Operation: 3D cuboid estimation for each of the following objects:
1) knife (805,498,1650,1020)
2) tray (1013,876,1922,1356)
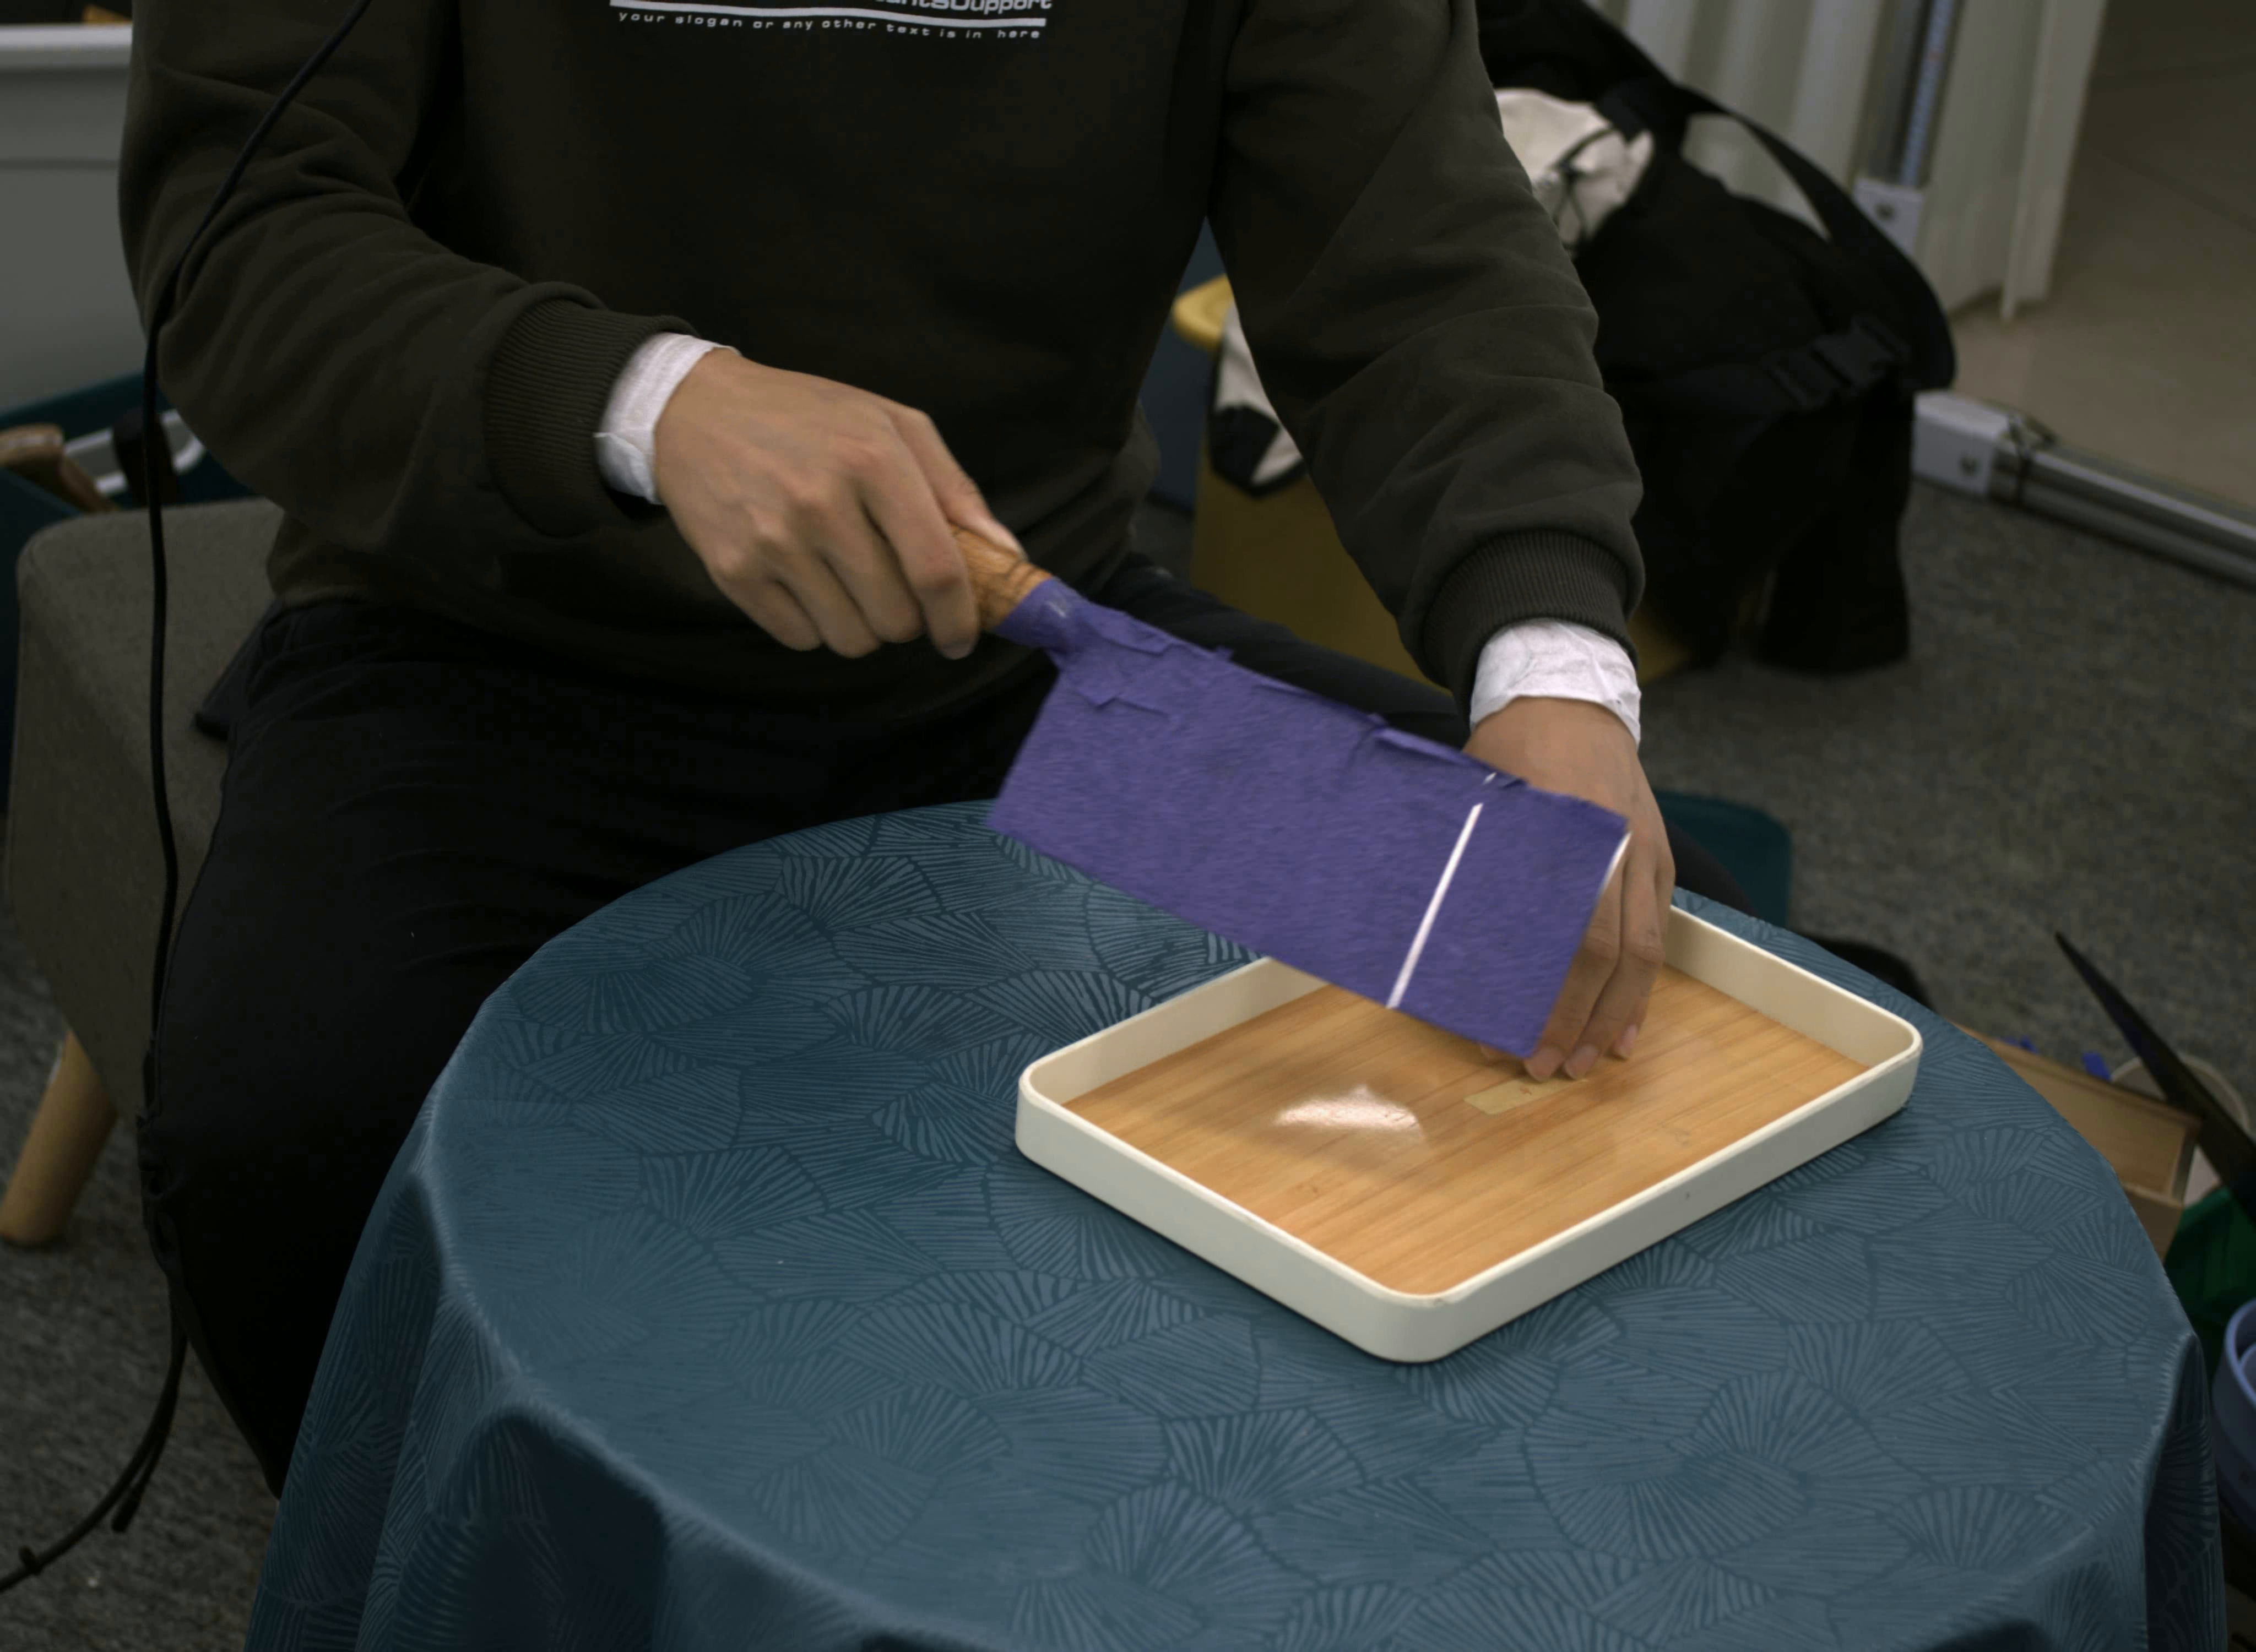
[{"bbox_3d":[0.018,-0.023,1.832,0.316,0.104,0.032,21,-12,17],"label":"knife"},{"bbox_3d":[0.122,0.091,1.866,0.193,0.027,0.299,26,33,35],"label":"tray"}]
